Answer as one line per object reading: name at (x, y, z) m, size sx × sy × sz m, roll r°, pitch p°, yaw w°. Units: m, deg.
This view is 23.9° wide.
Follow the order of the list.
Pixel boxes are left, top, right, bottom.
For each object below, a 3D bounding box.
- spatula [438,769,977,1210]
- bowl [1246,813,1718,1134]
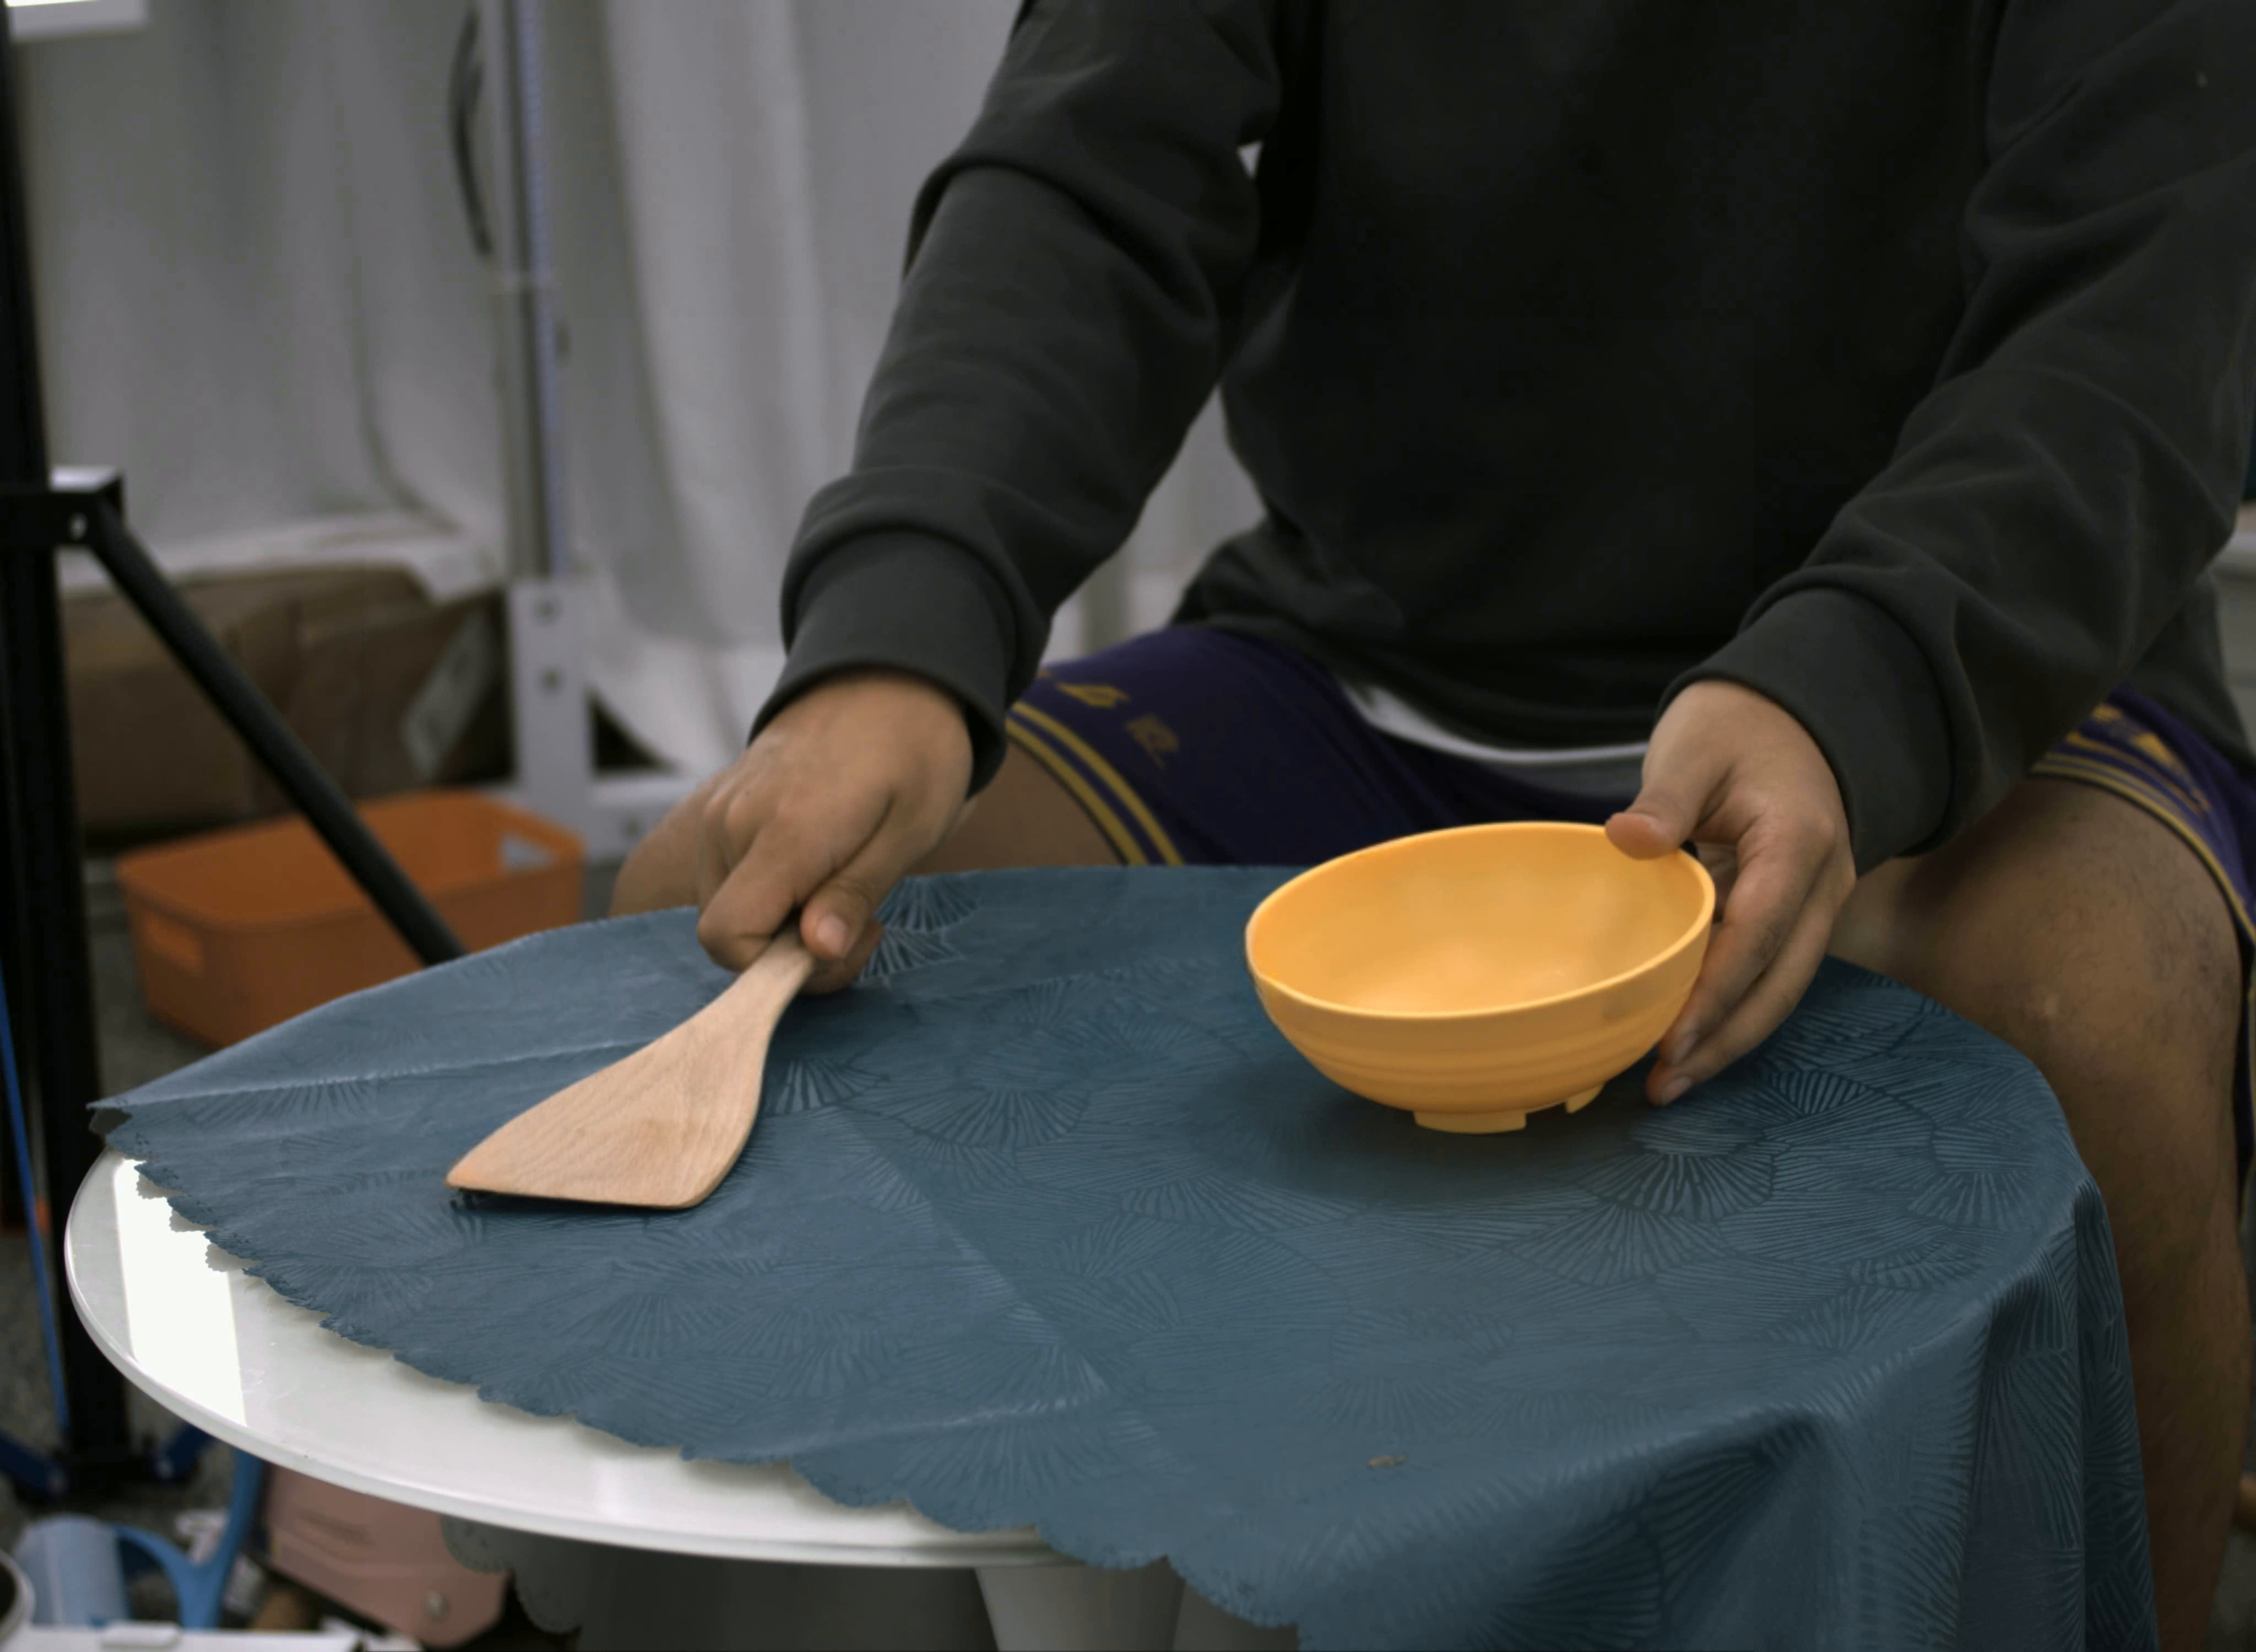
spatula at (-0.115, 0.048, 1.698) m, size 0.081 × 0.016 × 0.325 m, roll 6°, pitch 28°, yaw 20°
bowl at (0.110, 0.053, 1.615) m, size 0.145 × 0.060 × 0.146 m, roll -7°, pitch 23°, yaw 2°
